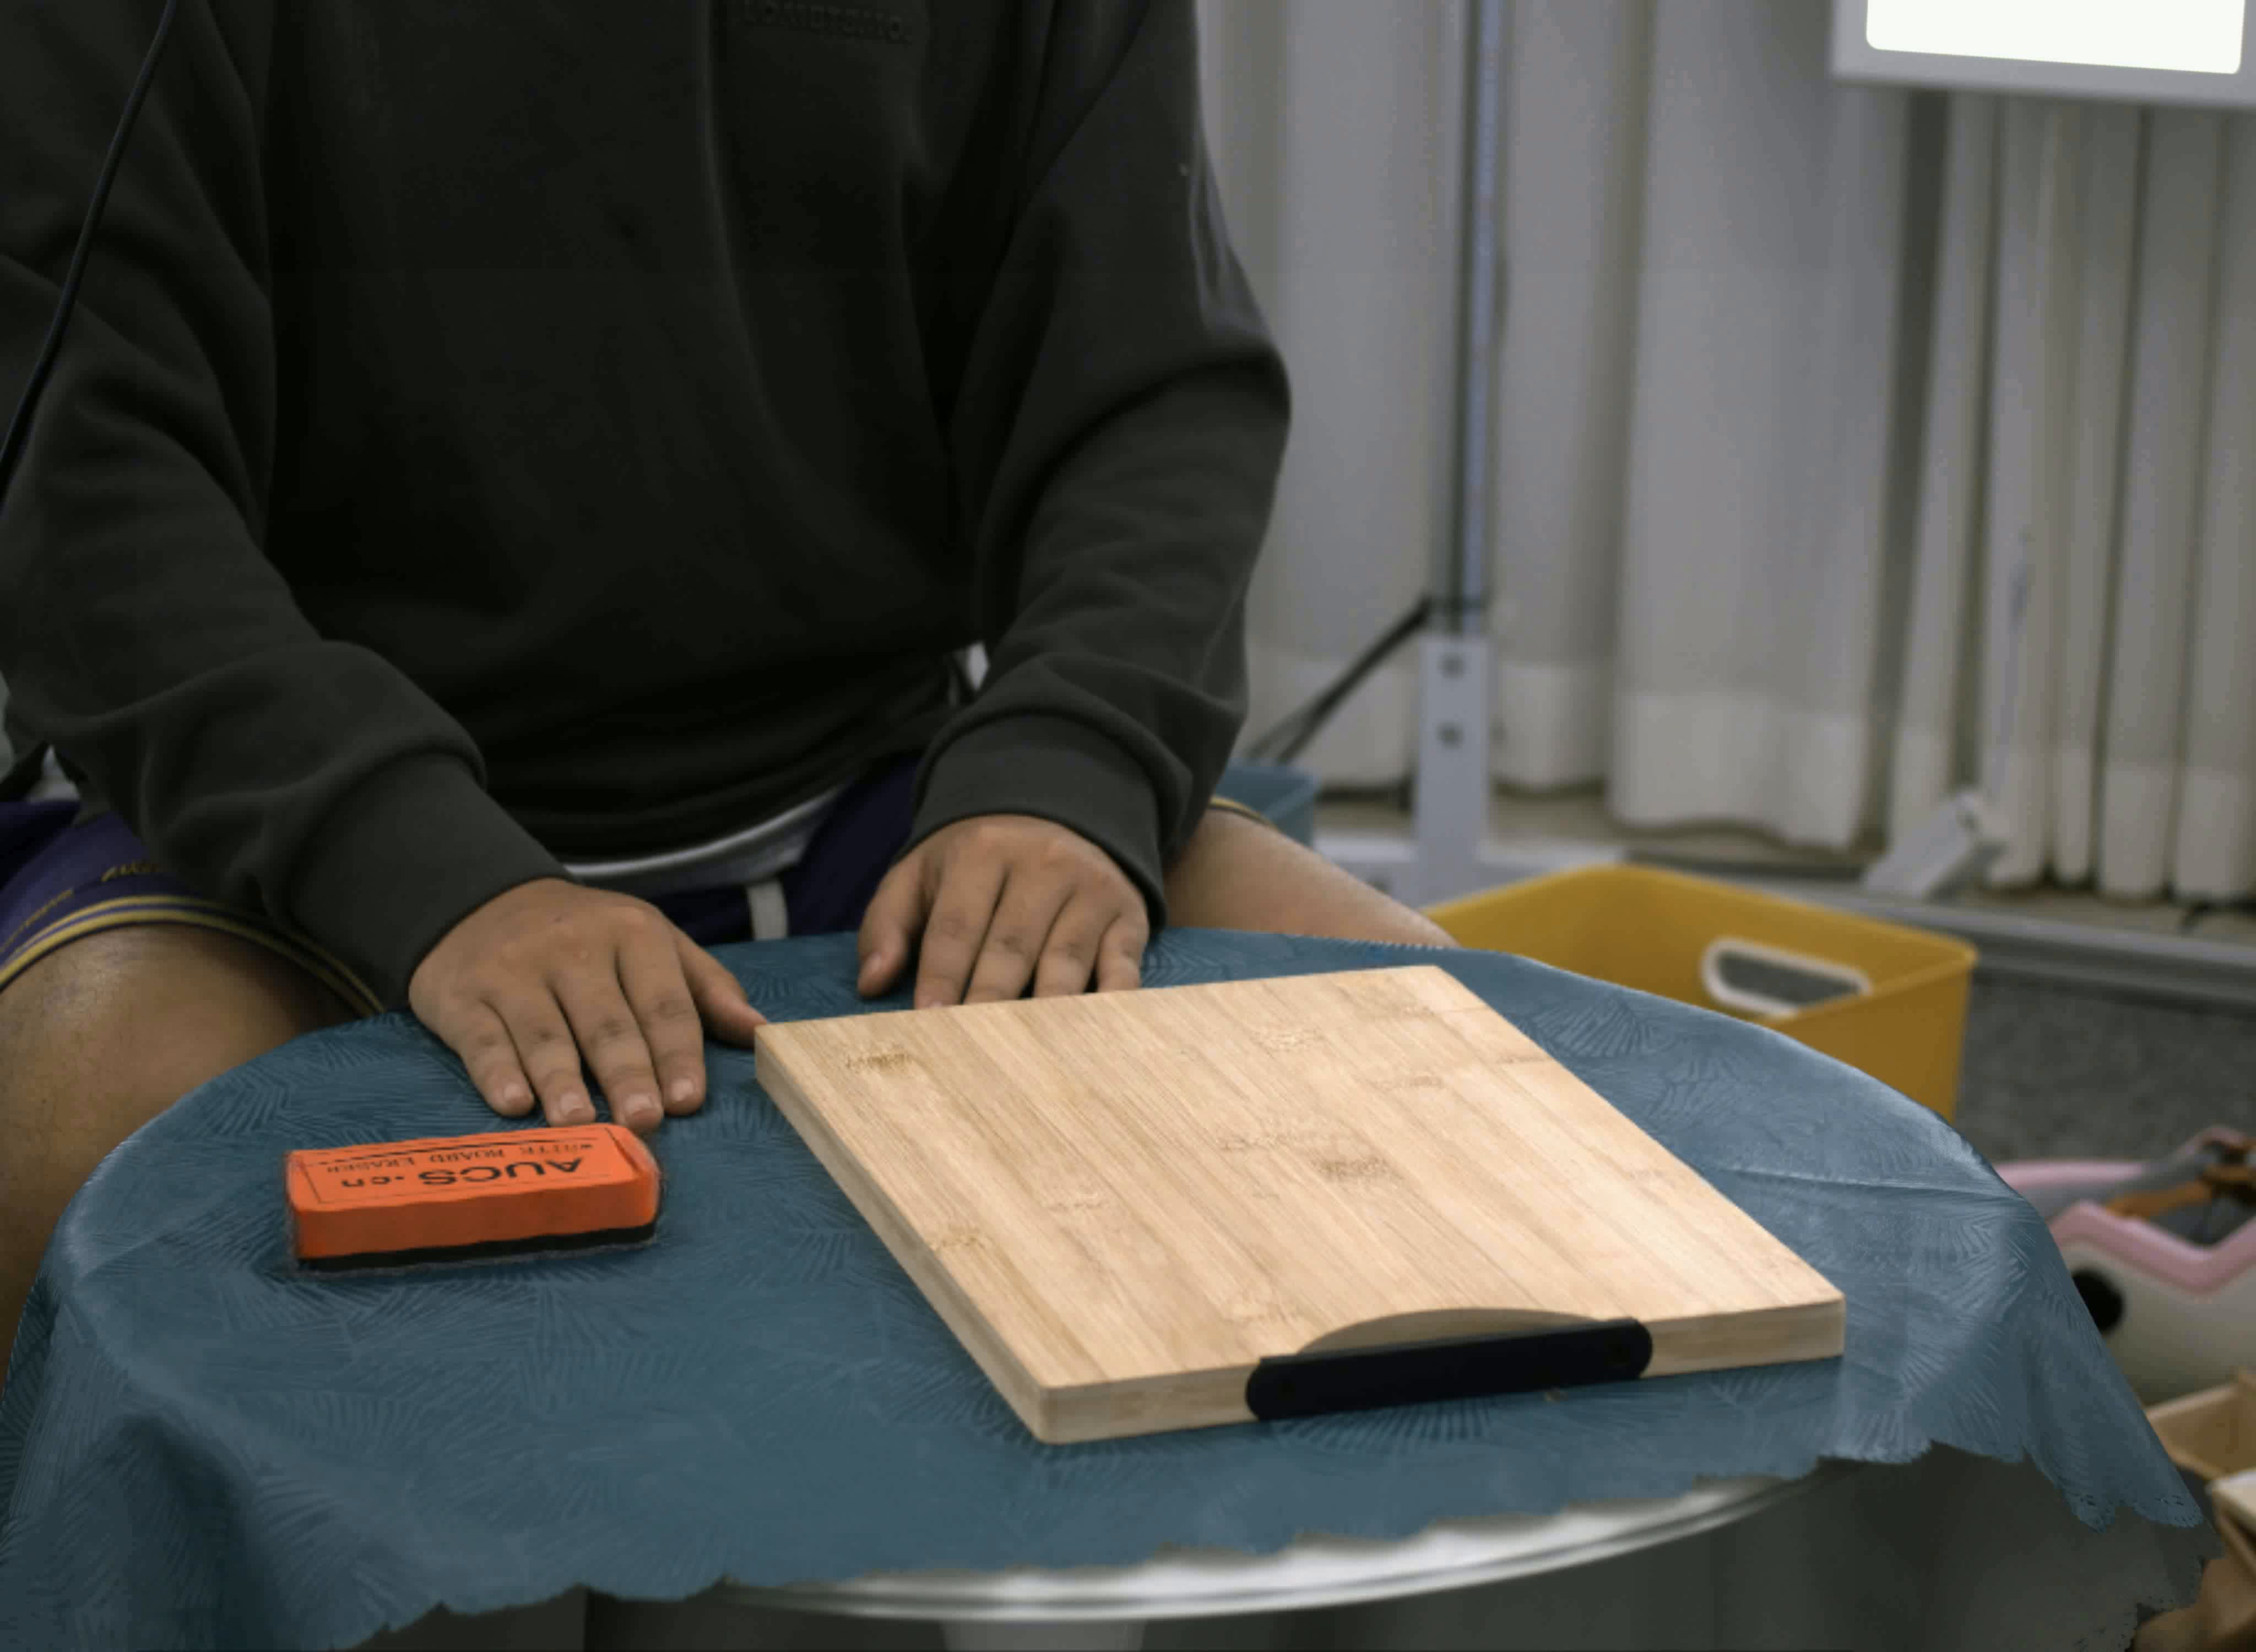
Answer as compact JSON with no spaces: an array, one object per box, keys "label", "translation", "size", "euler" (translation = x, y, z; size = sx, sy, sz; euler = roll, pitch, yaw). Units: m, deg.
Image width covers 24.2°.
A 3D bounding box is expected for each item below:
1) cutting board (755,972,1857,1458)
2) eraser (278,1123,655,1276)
[{"label":"cutting board","translation":[0.042,0.110,1.603],"size":[0.251,0.024,0.345],"euler":[-5,16,-18]},{"label":"eraser","translation":[-0.198,0.111,1.574],"size":[0.108,0.023,0.058],"euler":[-3,17,-16]}]
